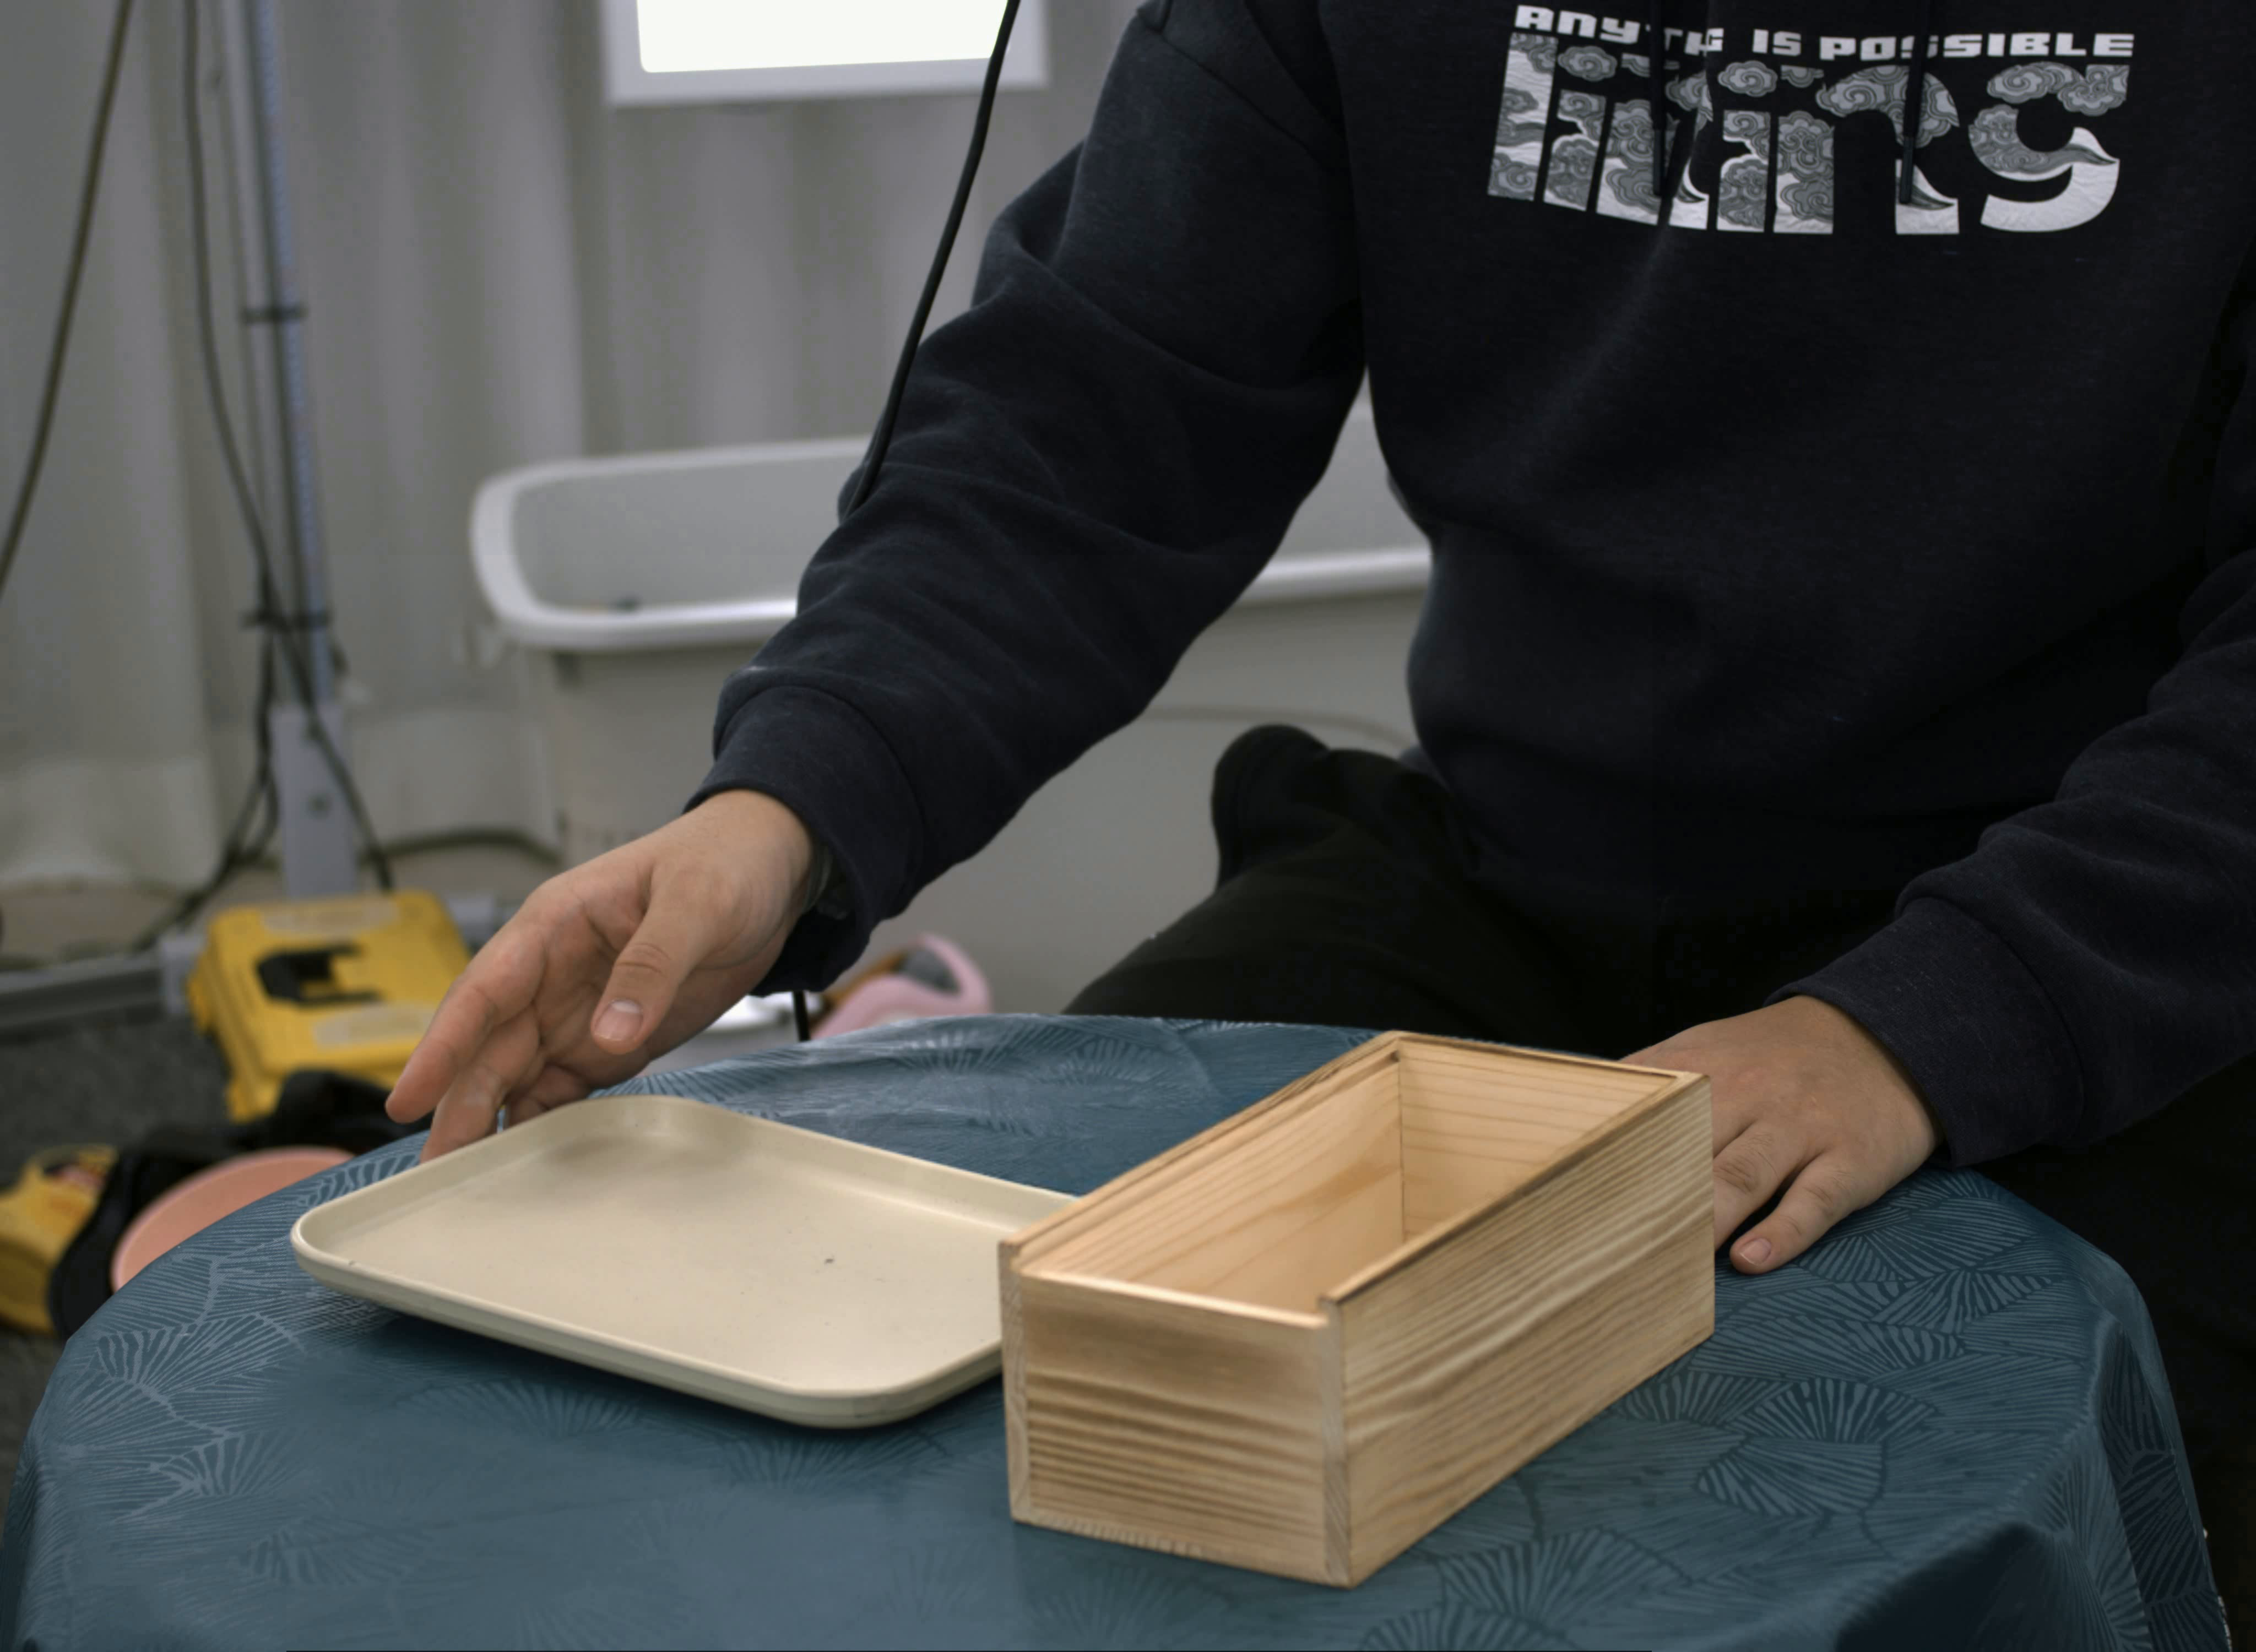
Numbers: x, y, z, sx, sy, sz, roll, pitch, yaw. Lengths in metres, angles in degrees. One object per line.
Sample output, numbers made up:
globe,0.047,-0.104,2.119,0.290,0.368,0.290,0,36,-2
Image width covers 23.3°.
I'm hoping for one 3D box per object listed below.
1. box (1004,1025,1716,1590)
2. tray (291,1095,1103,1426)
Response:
box,0.068,0.127,1.503,0.108,0.080,0.211,7,17,31
tray,-0.118,0.129,1.635,0.241,0.017,0.171,11,20,35
